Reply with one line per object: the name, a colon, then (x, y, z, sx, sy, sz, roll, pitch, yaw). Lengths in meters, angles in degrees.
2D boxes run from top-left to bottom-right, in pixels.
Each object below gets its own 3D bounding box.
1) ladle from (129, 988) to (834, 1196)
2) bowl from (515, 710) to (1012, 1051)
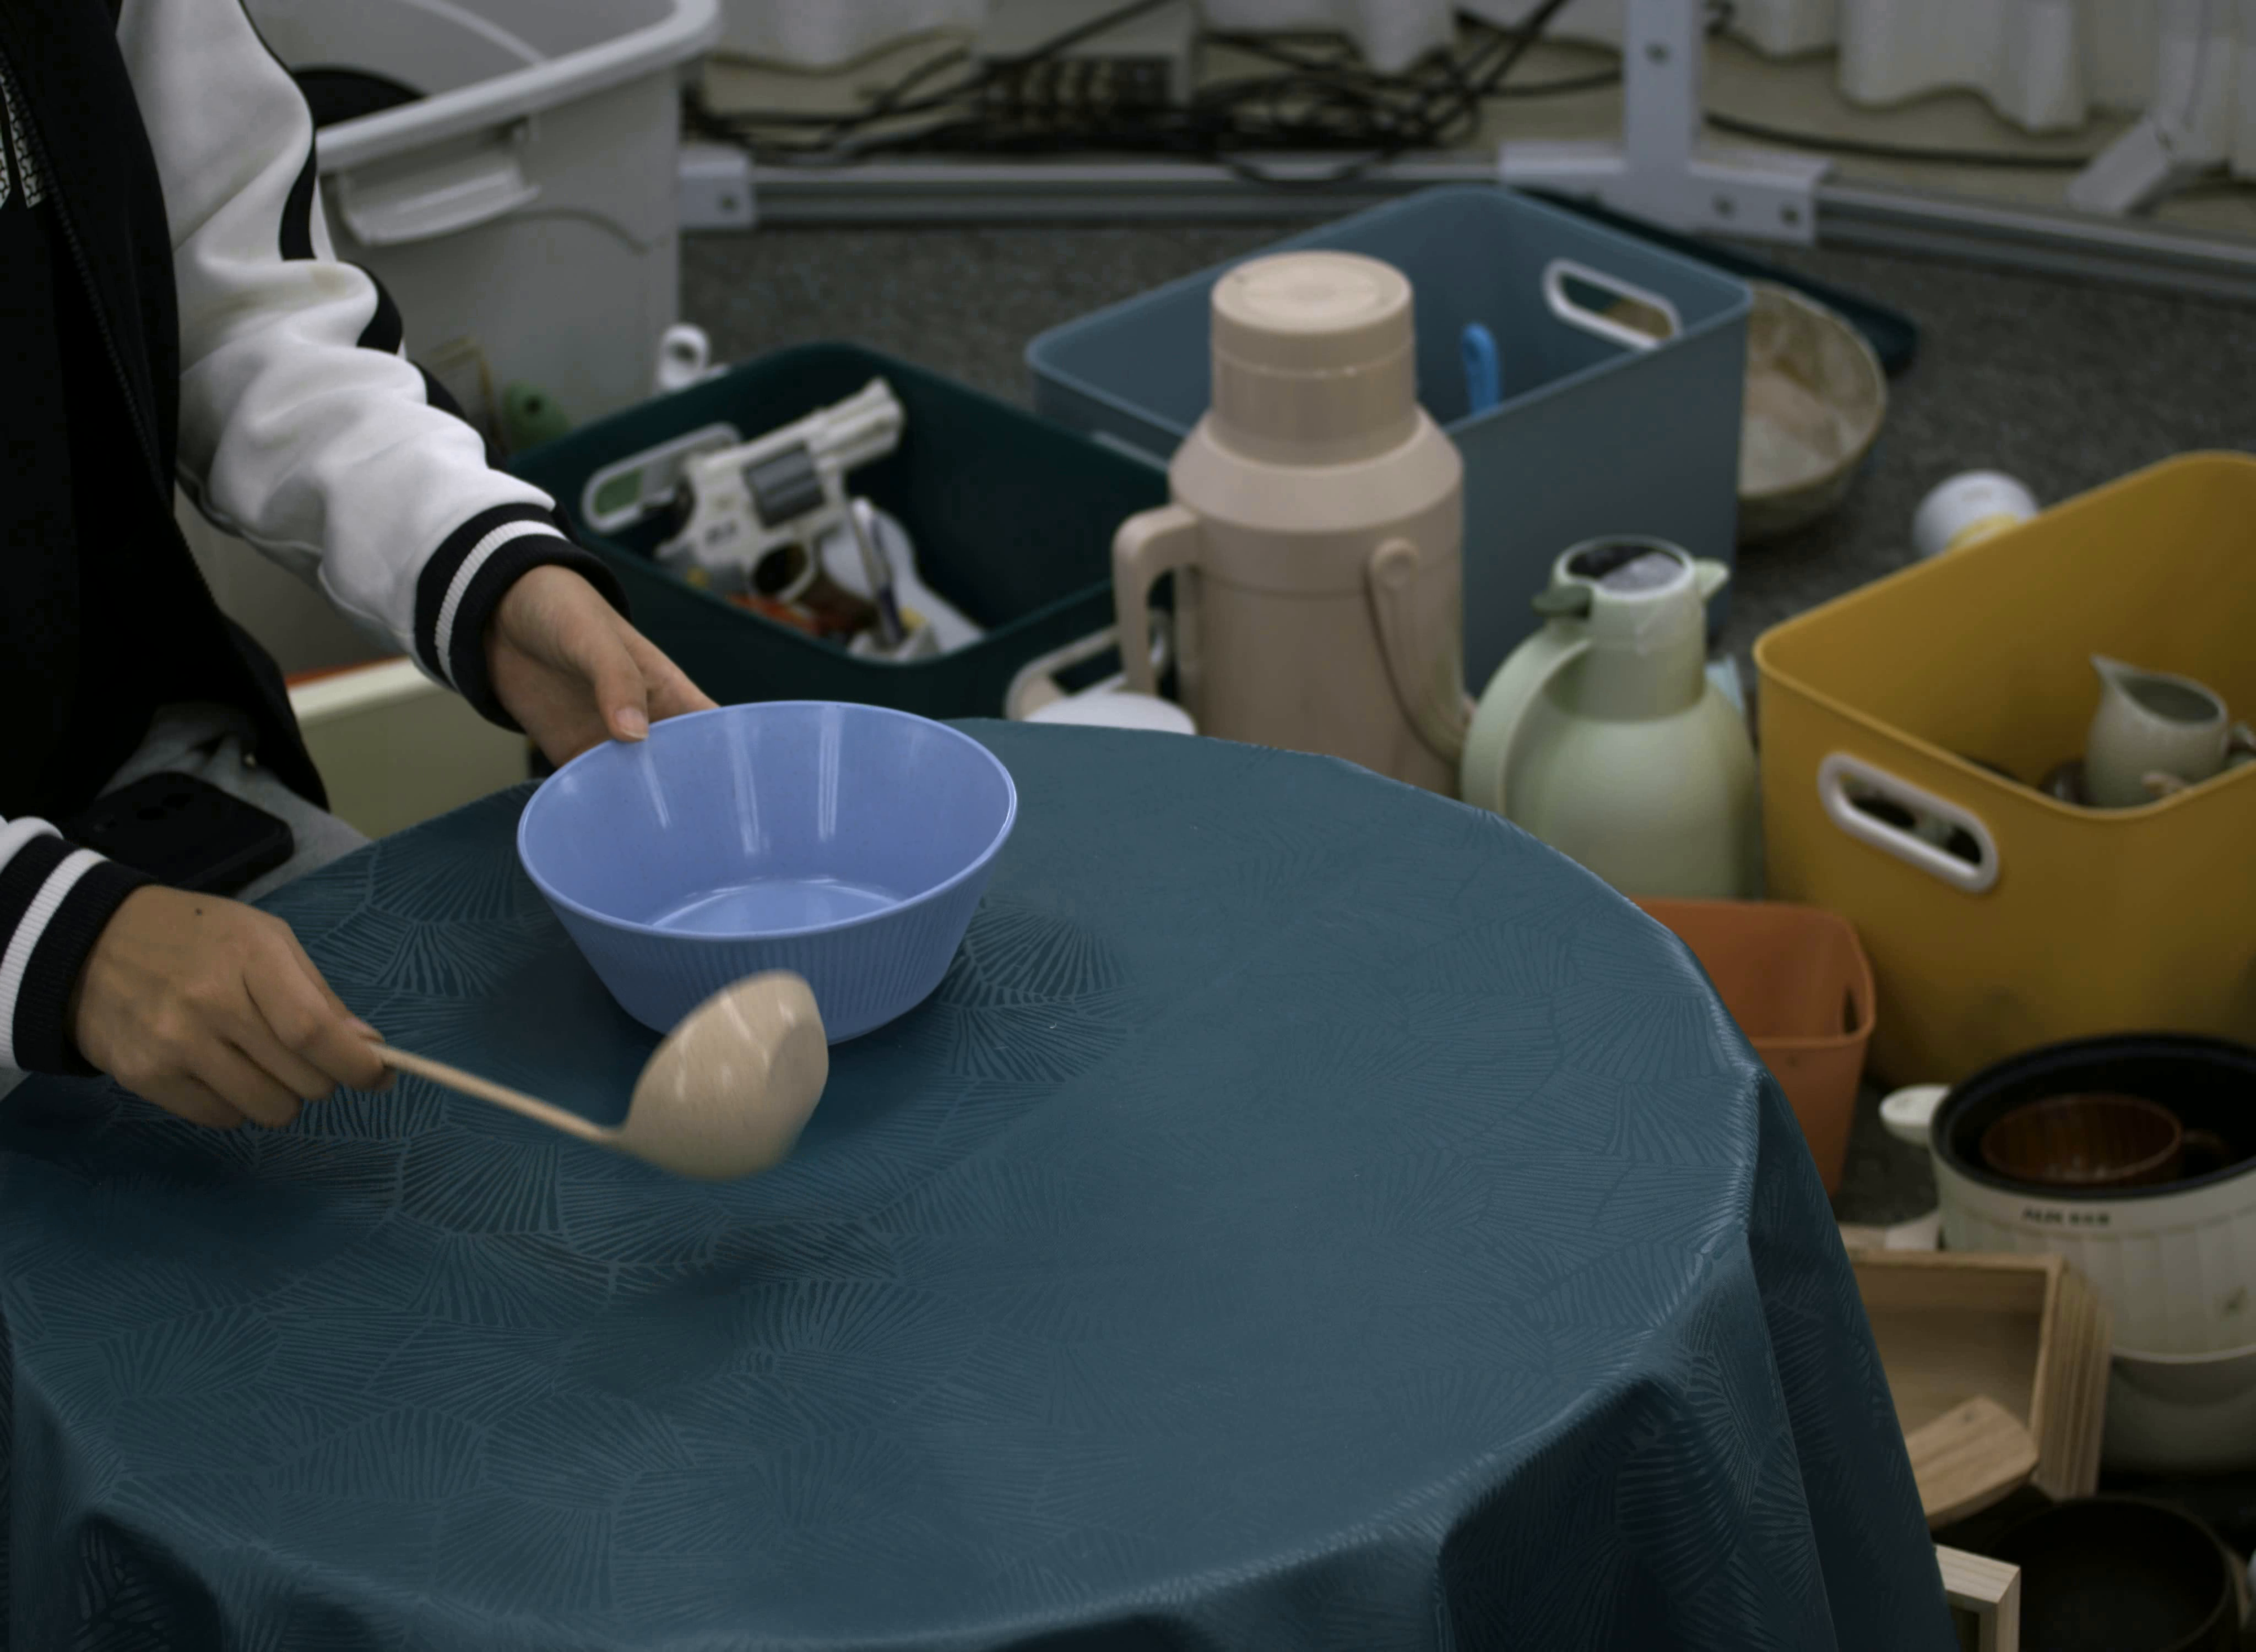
ladle: (-0.213, 0.062, 1.850, 0.253, 0.073, 0.071, 14, -14, 25)
bowl: (-0.126, 0.026, 1.984, 0.175, 0.069, 0.179, -2, 26, 1)
